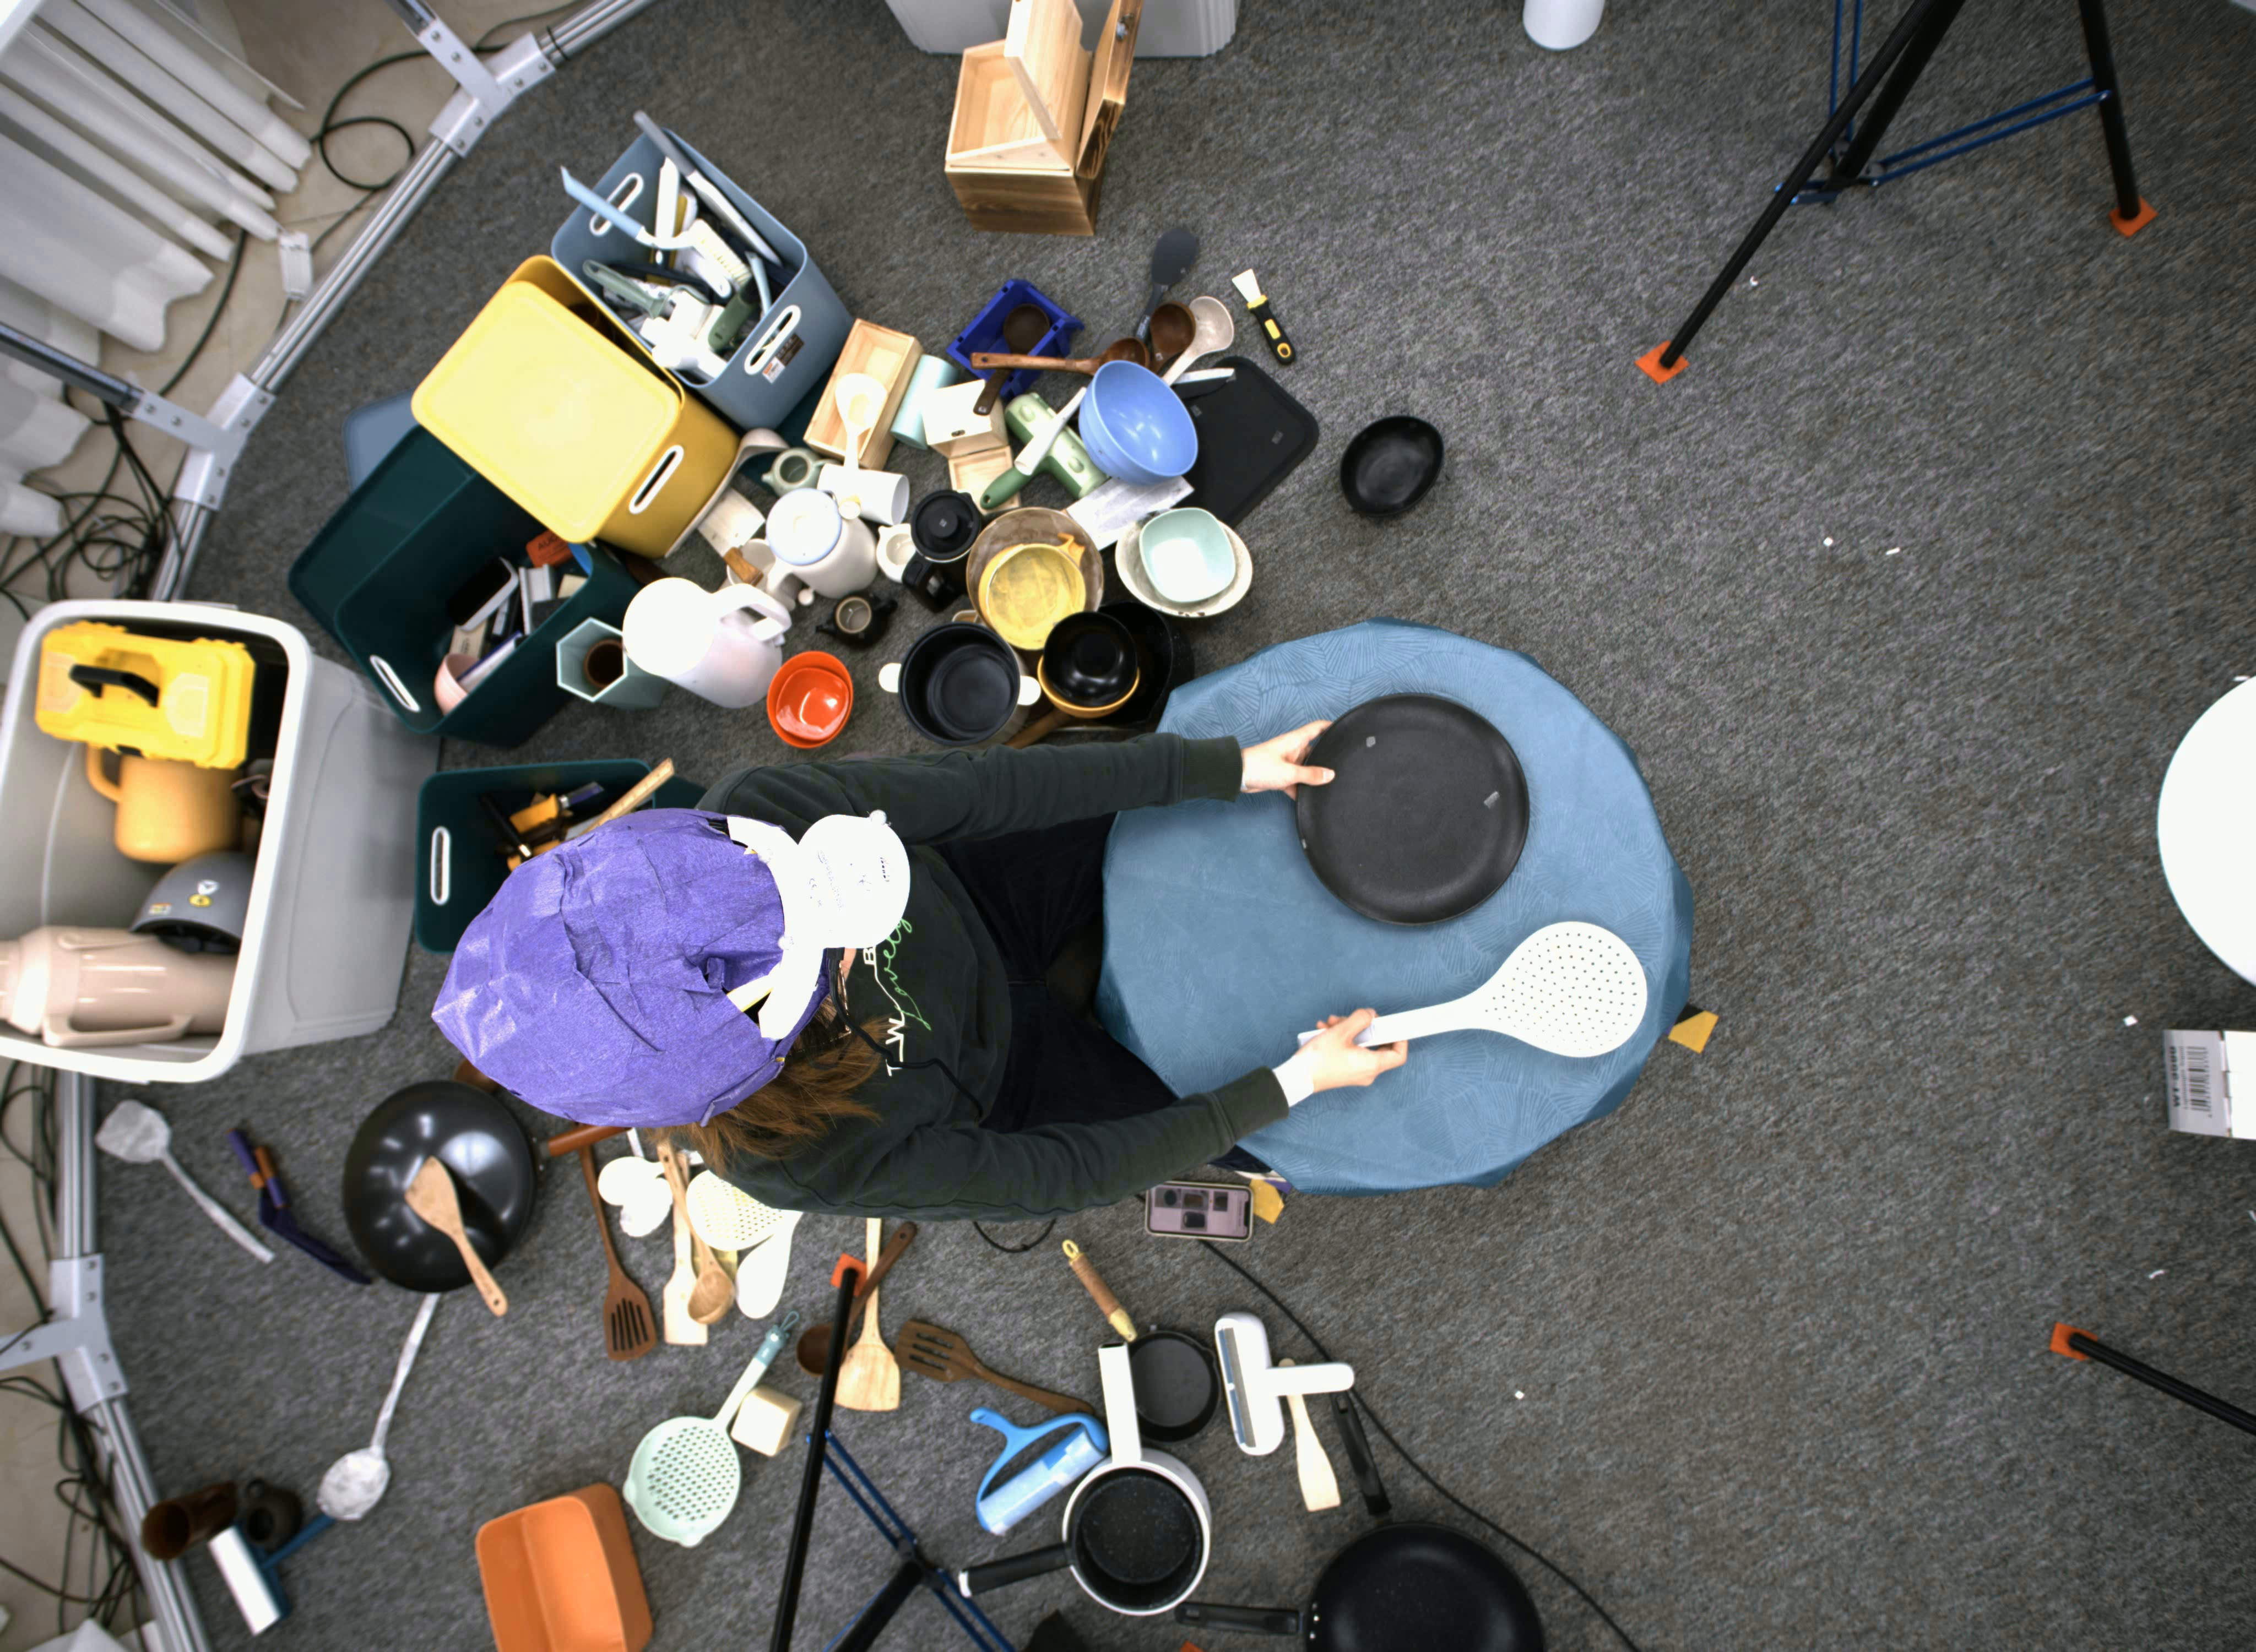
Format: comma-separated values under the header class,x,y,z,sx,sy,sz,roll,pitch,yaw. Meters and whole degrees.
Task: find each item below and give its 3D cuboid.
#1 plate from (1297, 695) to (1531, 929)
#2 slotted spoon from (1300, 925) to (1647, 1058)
class,x,y,z,sx,sy,sz,roll,pitch,yaw
plate,0.298,-0.016,1.442,0.245,0.023,0.244,0,90,3
slotted spoon,0.348,0.188,1.399,0.350,0.046,0.134,-11,70,1
